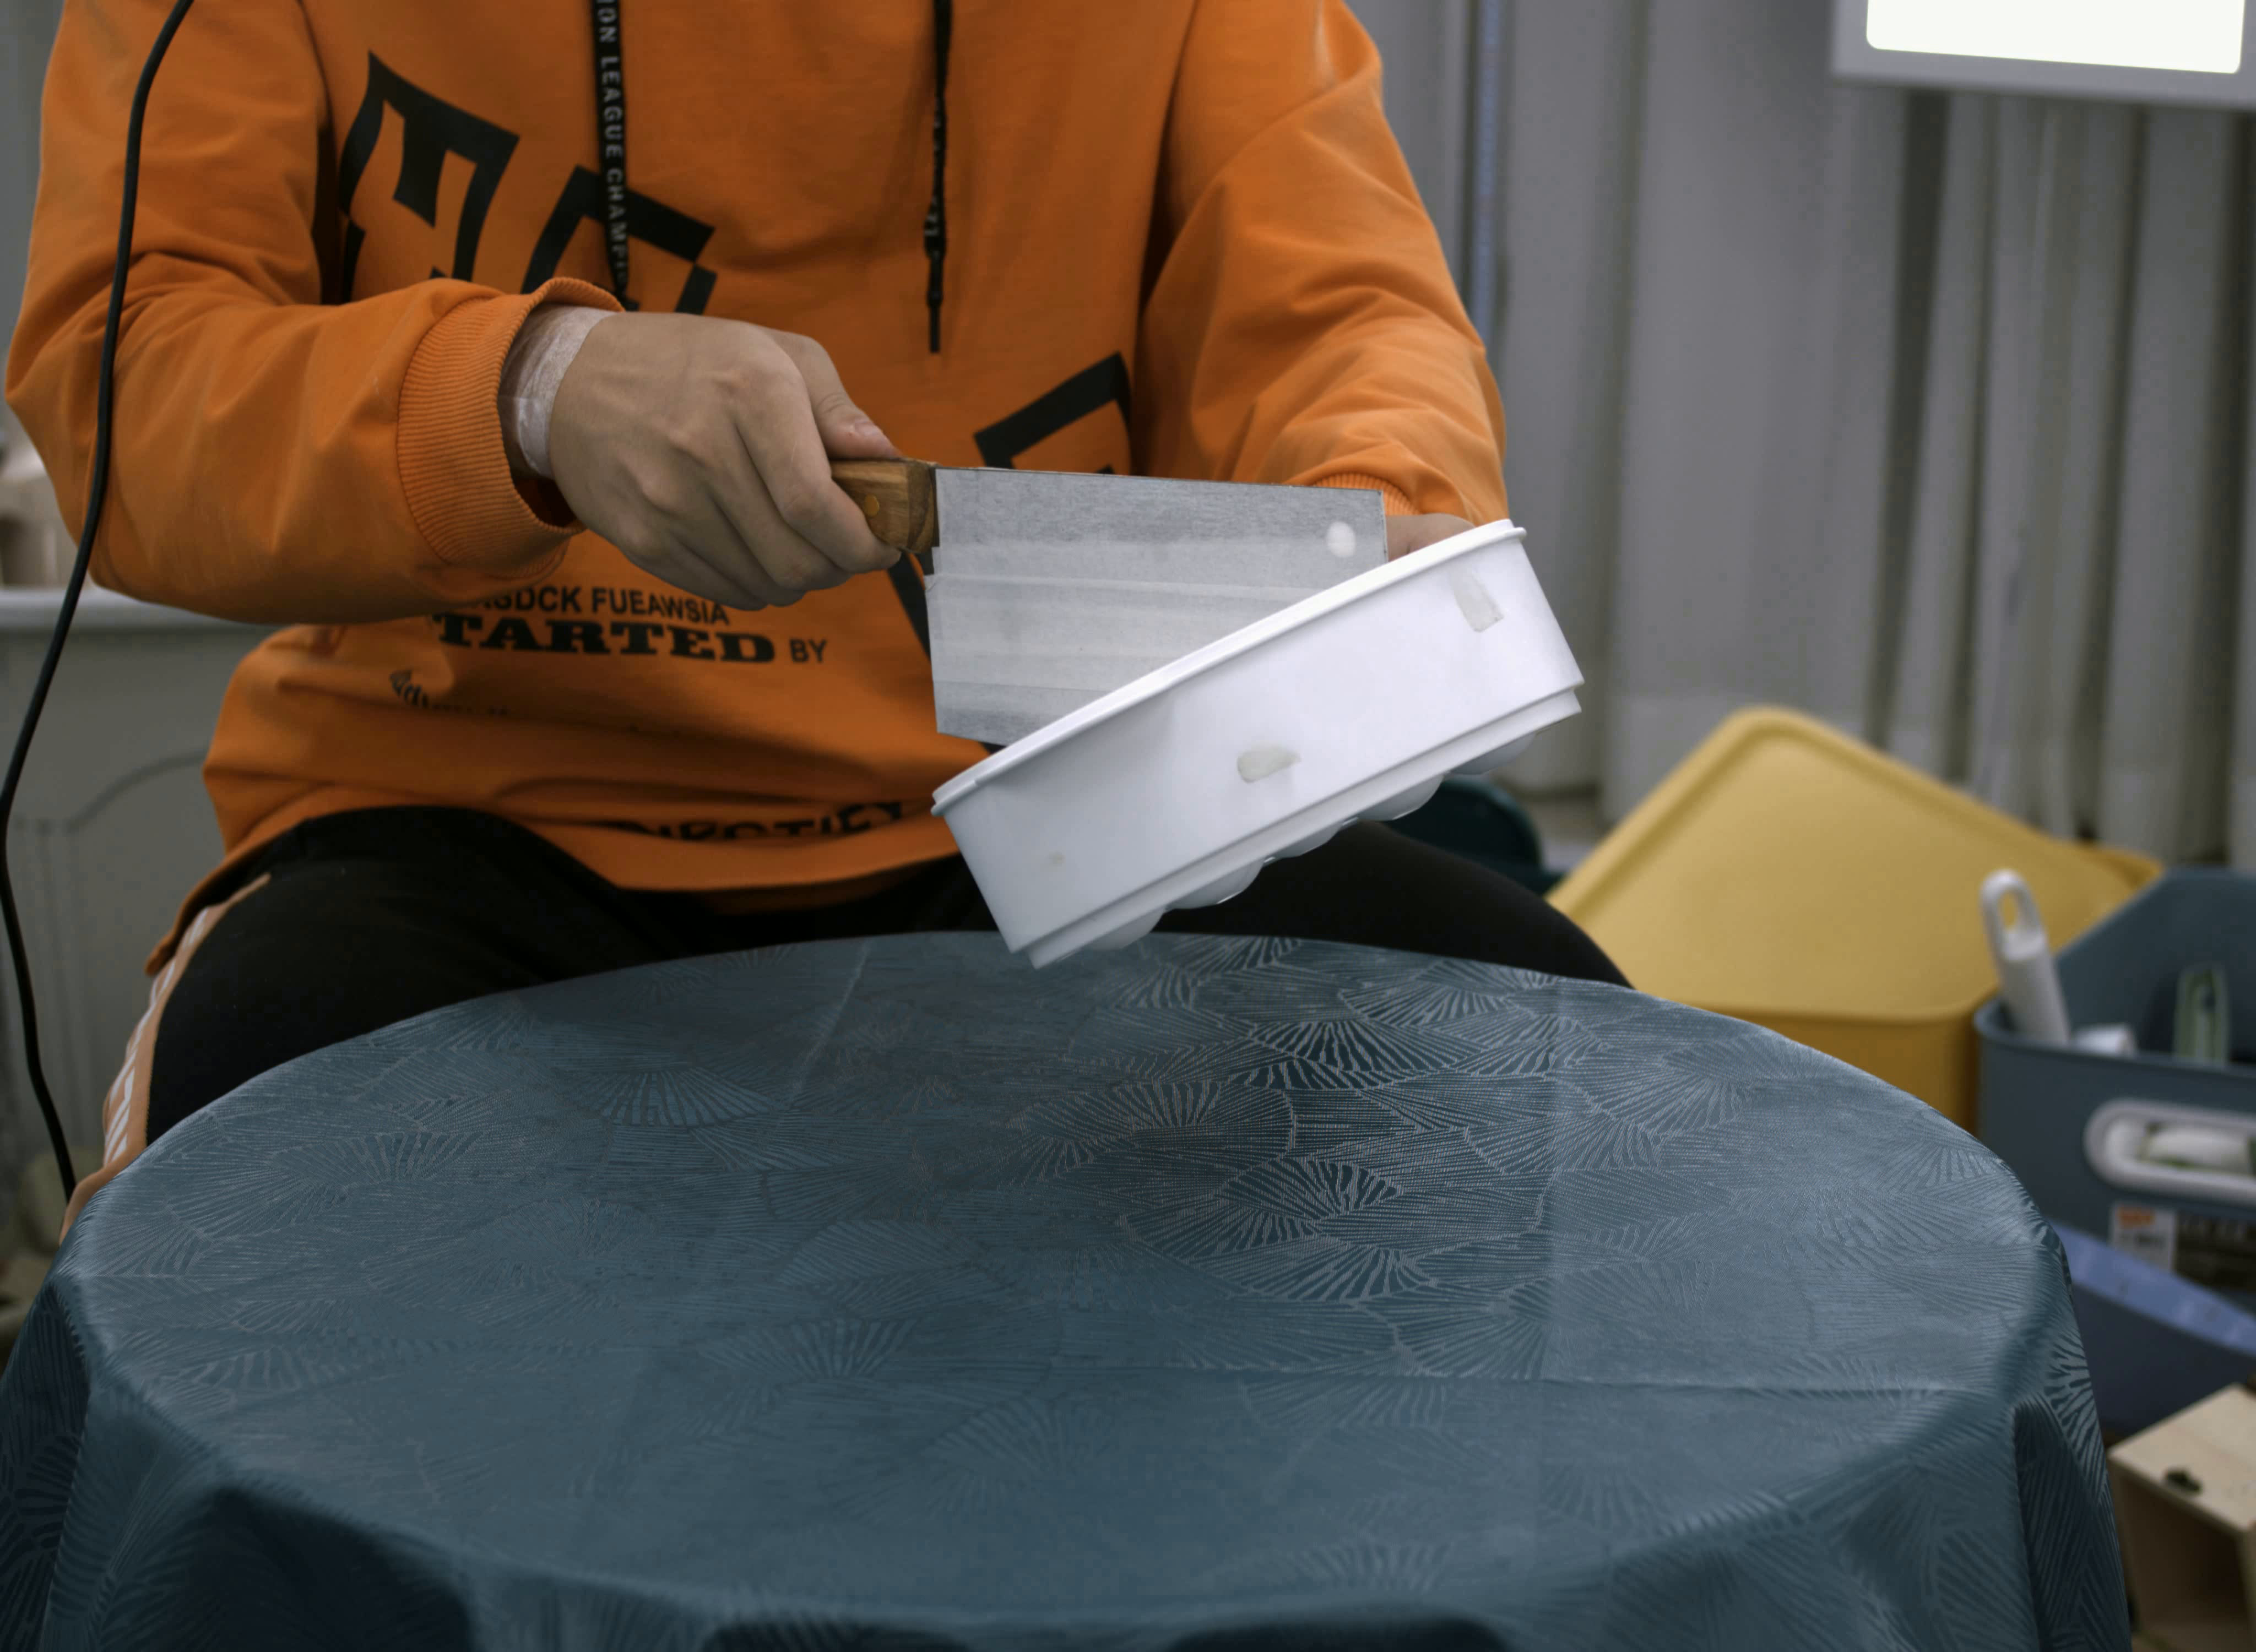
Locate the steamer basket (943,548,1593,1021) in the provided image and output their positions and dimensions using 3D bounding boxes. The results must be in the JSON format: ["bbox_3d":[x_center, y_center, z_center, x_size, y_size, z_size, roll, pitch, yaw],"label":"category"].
[{"bbox_3d":[0.045,-0.010,1.597,0.201,0.069,0.231,-27,2,31],"label":"steamer basket"}]

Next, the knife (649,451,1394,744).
[{"bbox_3d":[-0.037,-0.072,1.669,0.302,0.093,0.021,5,18,39],"label":"knife"}]
